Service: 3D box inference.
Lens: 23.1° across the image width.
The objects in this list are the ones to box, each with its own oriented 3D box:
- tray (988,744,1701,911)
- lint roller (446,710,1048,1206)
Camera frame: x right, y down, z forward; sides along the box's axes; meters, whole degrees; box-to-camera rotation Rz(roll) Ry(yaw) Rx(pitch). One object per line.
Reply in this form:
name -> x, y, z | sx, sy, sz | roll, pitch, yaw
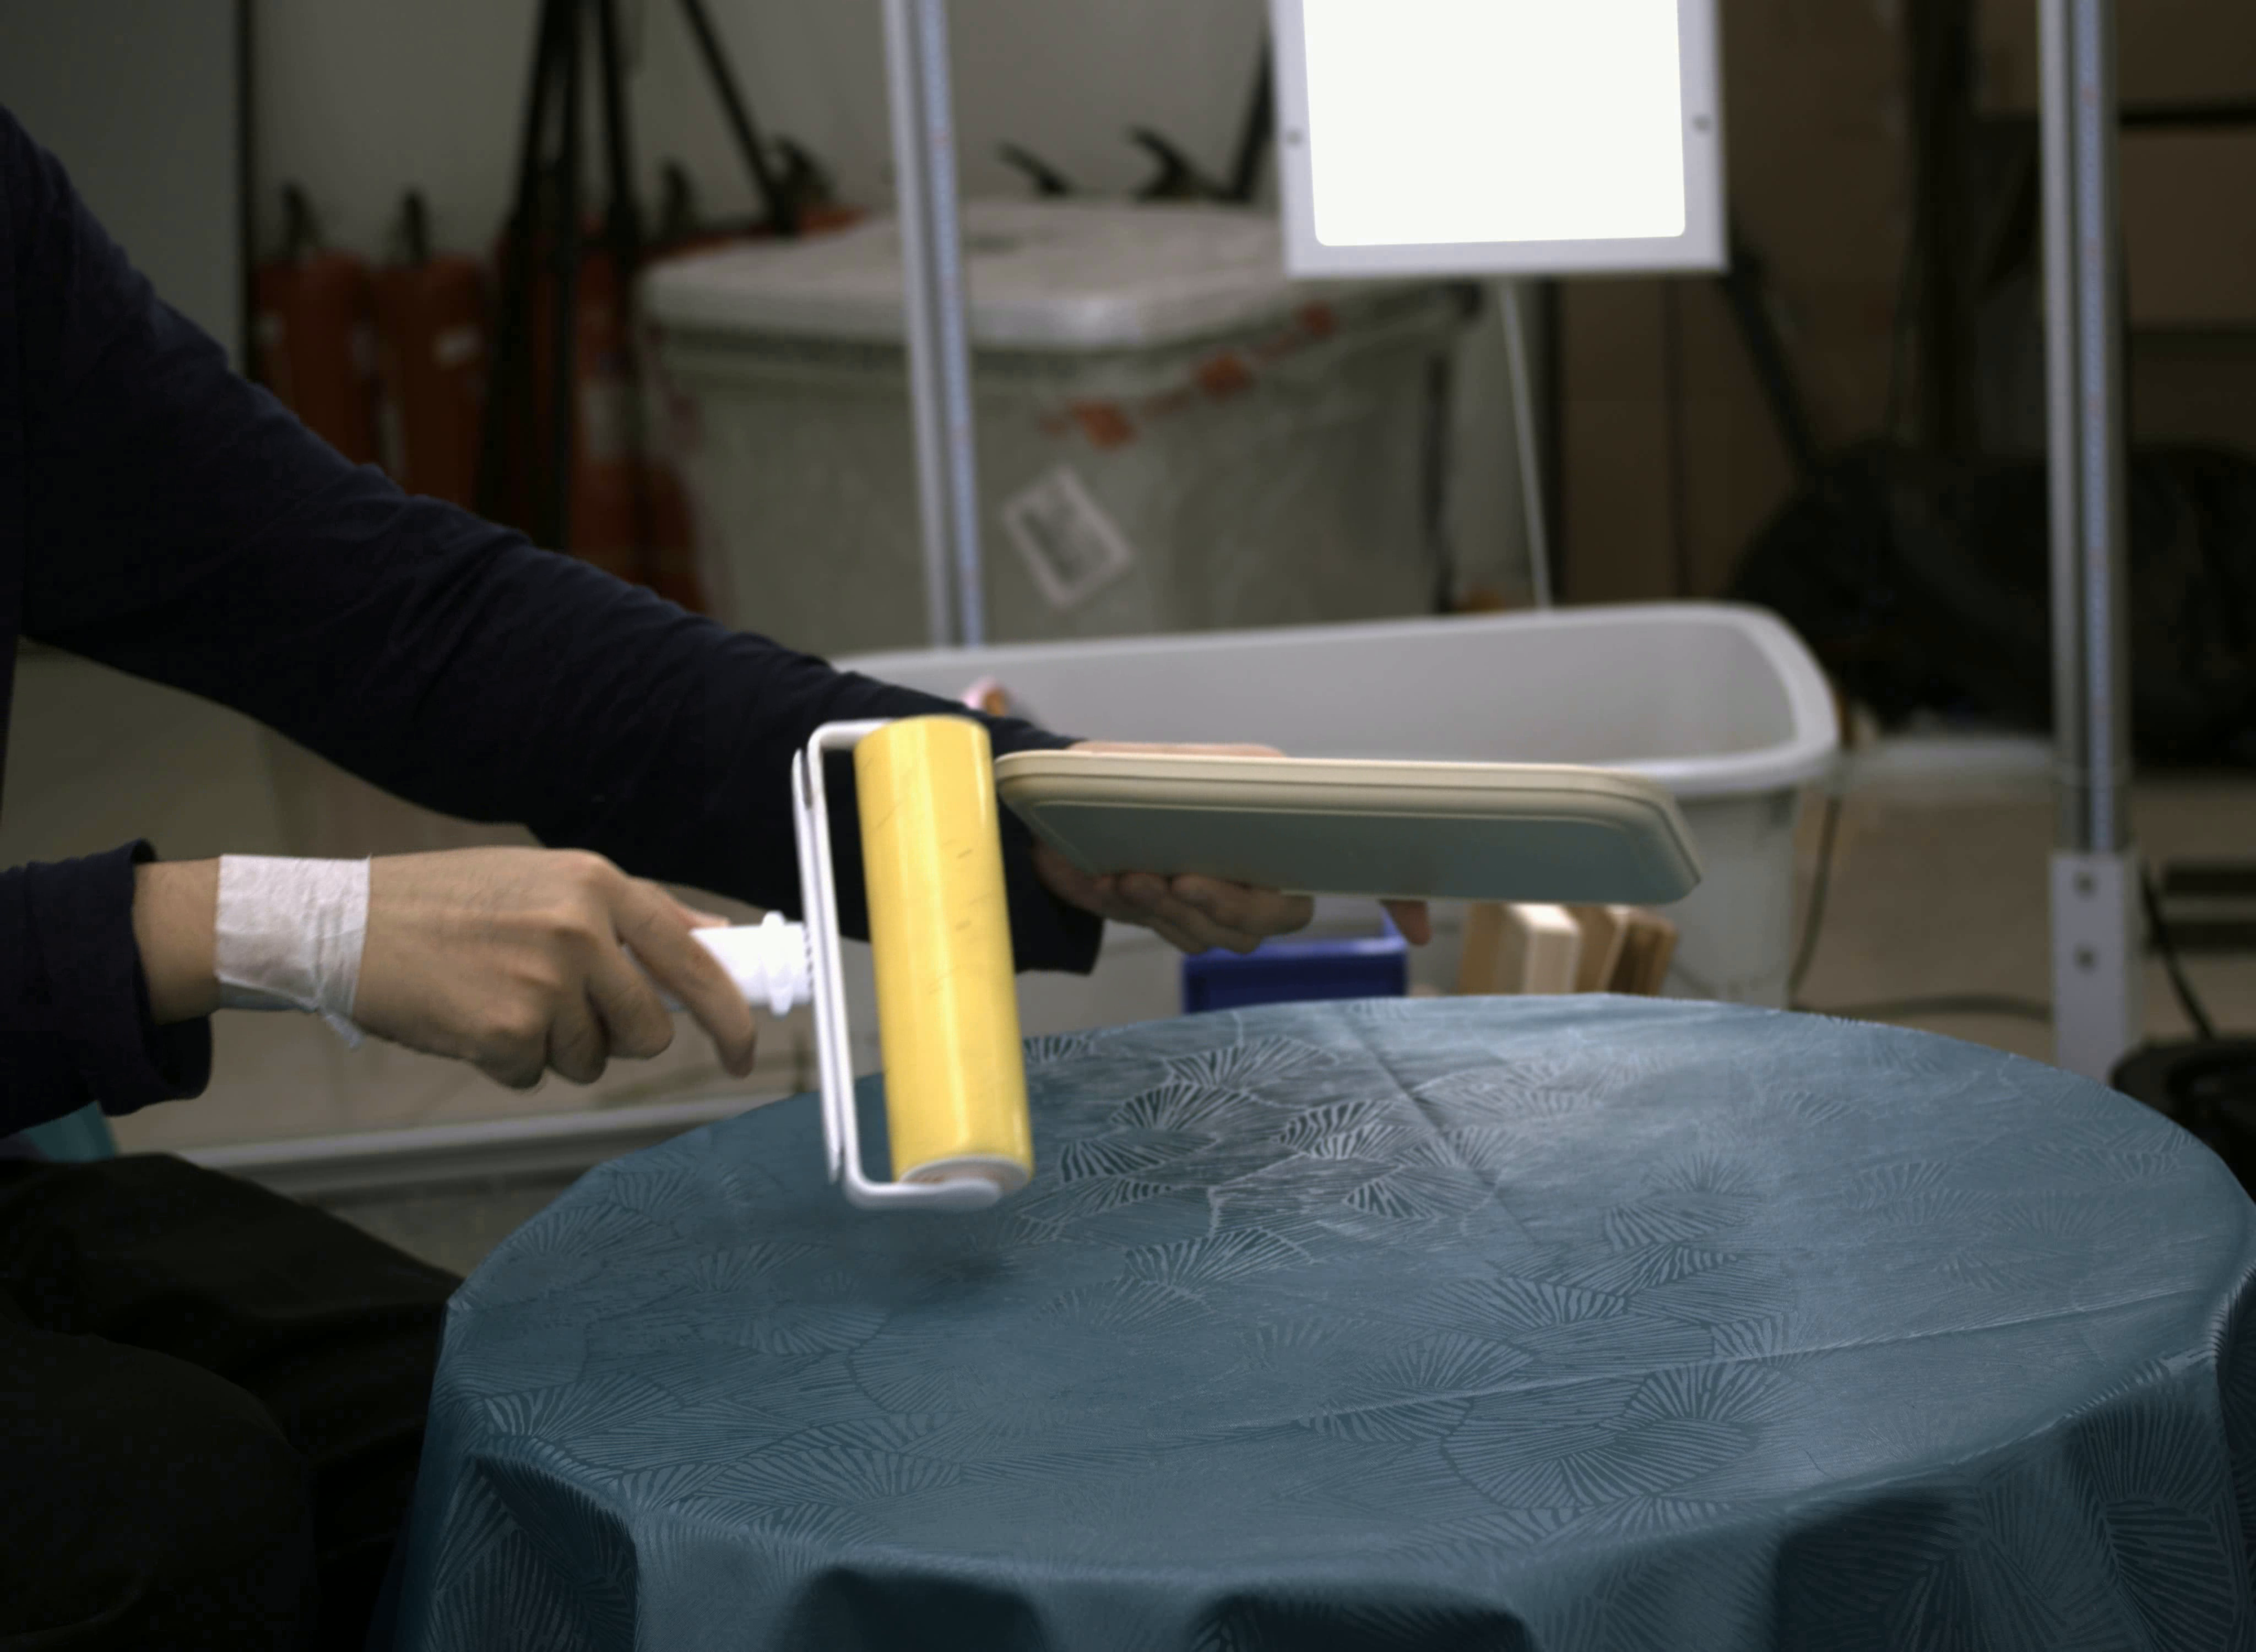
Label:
tray -> 0.078, 0.003, 1.942 | 0.242, 0.017, 0.169 | 2, -13, 15
lint roller -> -0.129, 0.044, 1.835 | 0.189, 0.174, 0.052 | 0, -24, -19
